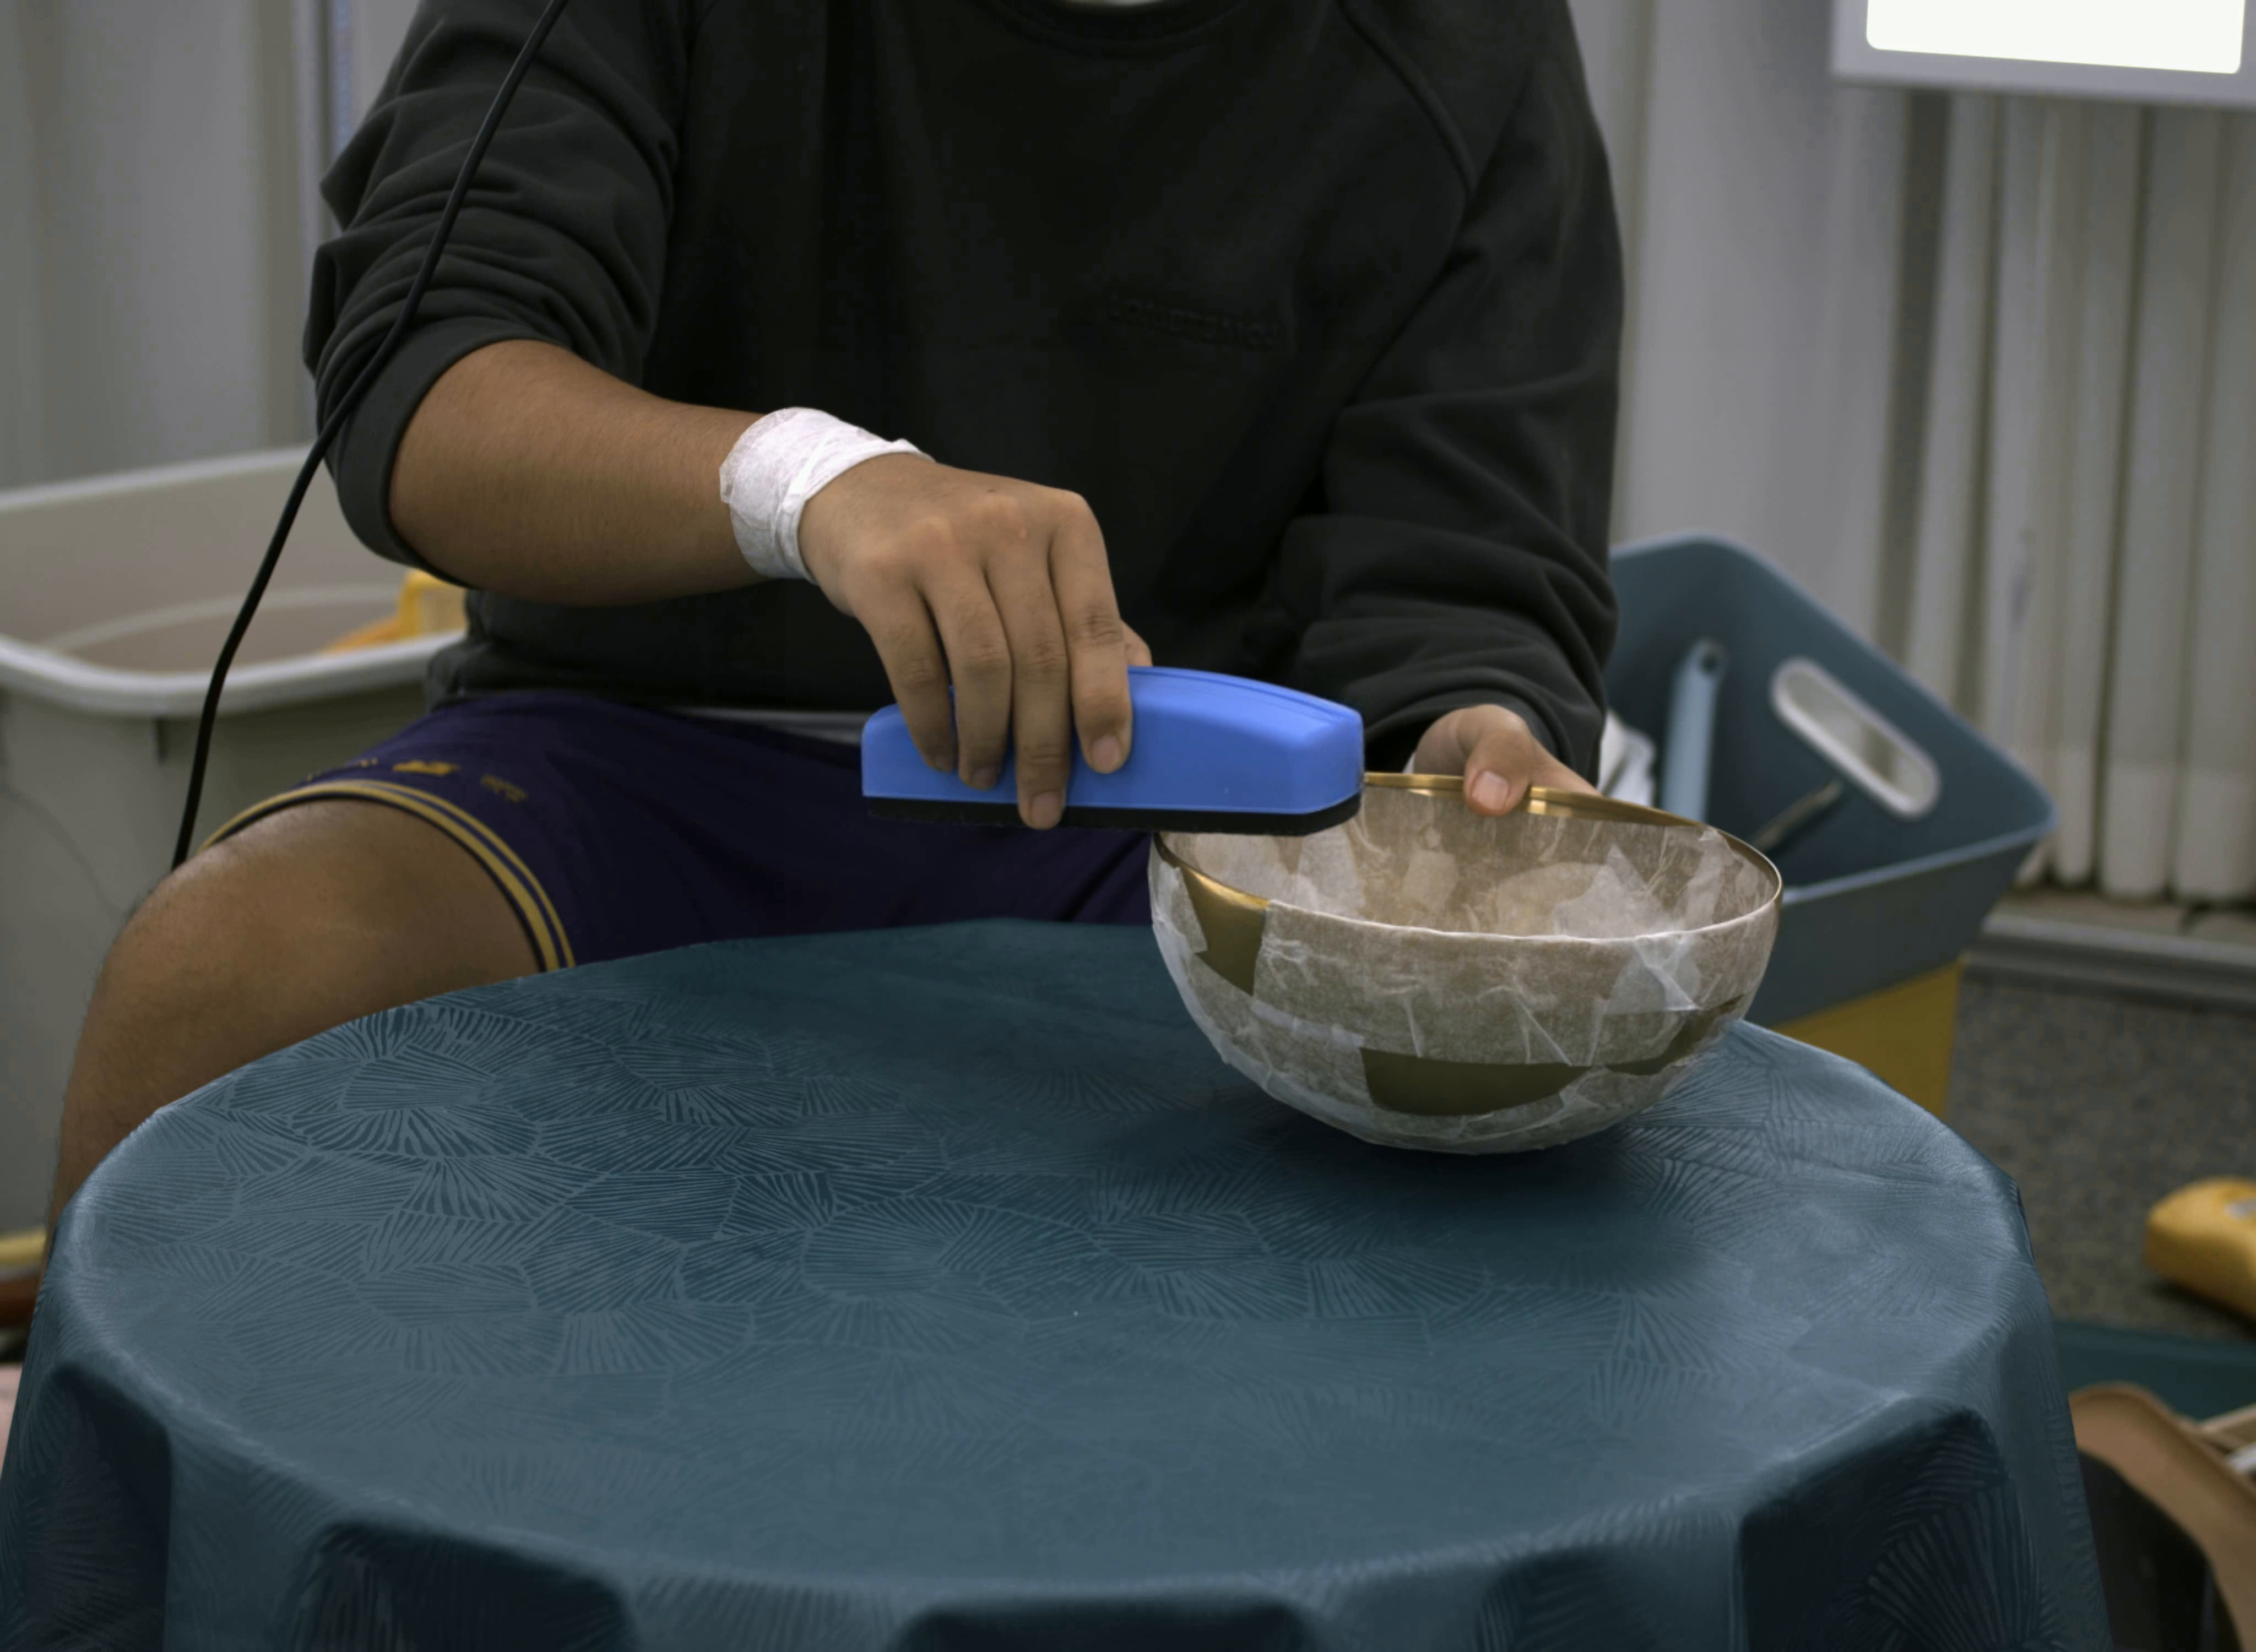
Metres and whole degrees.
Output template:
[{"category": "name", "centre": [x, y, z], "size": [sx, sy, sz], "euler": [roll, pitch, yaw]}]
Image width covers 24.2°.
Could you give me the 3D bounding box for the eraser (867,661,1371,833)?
[{"category": "eraser", "centre": [-0.004, -0.027, 1.667], "size": [0.160, 0.048, 0.054], "euler": [2, 15, 21]}]

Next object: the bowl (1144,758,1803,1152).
[{"category": "bowl", "centre": [0.104, 0.048, 1.667], "size": [0.214, 0.095, 0.213], "euler": [4, 15, -1]}]
